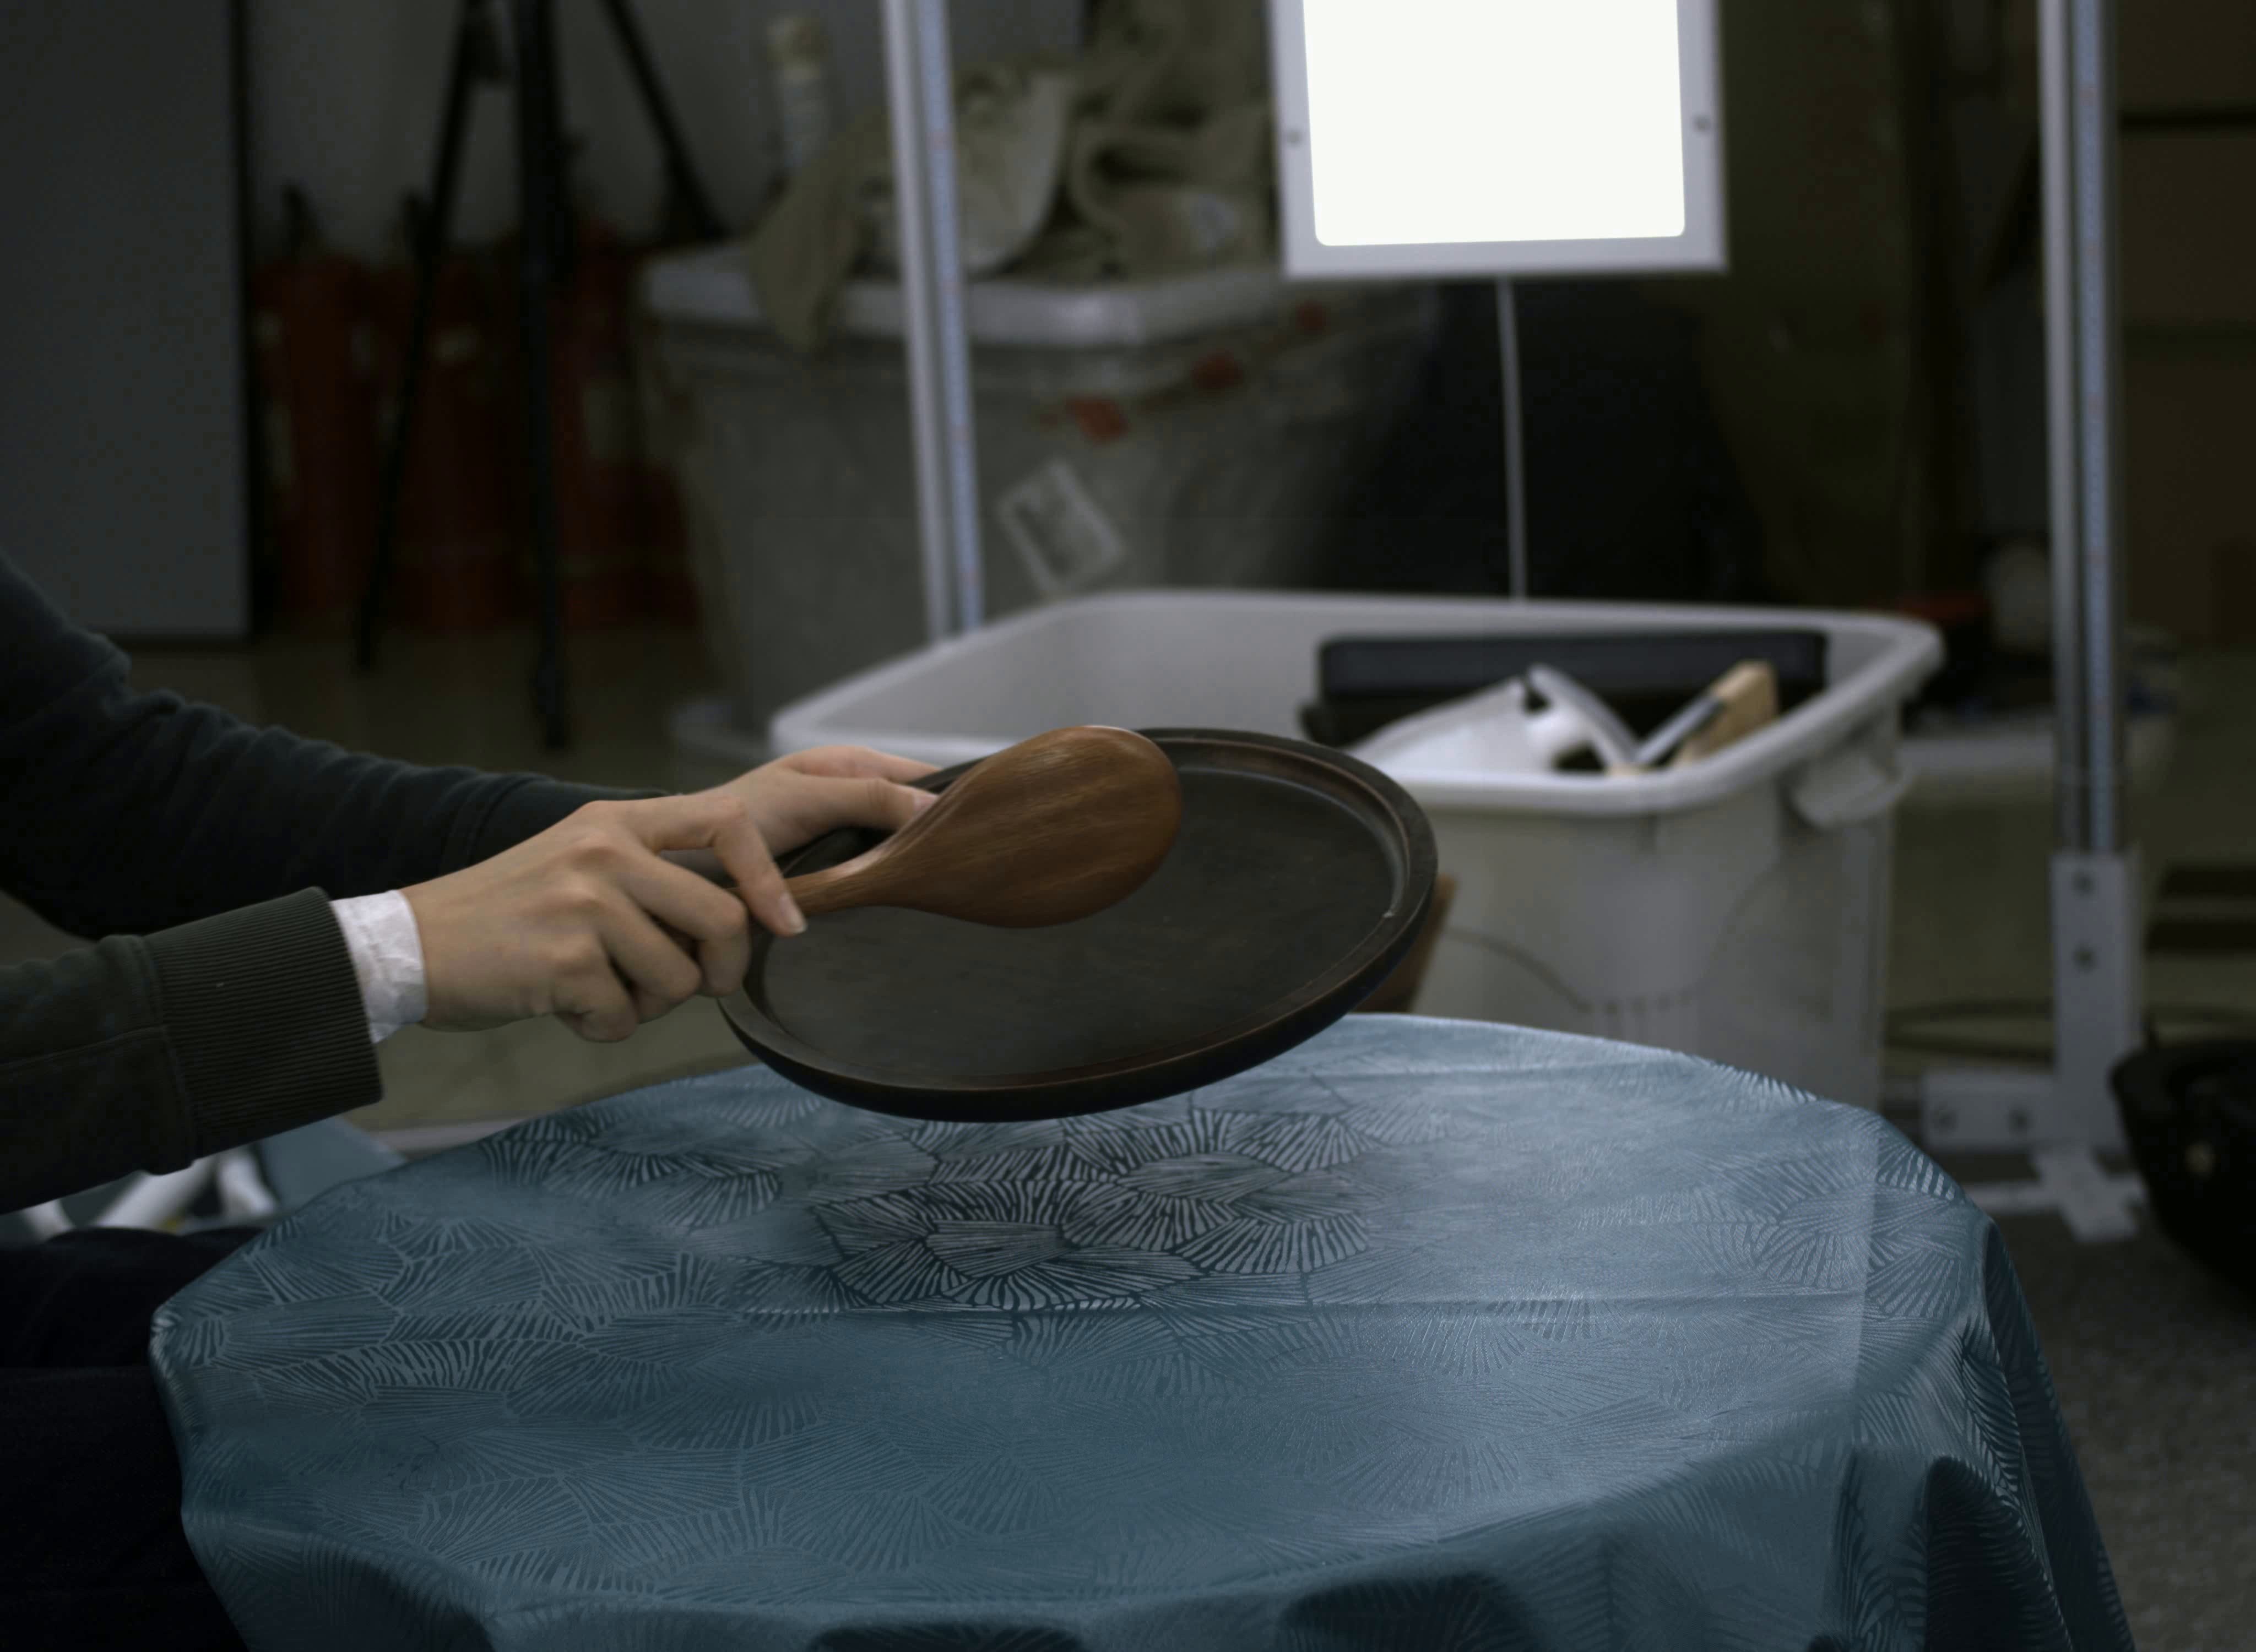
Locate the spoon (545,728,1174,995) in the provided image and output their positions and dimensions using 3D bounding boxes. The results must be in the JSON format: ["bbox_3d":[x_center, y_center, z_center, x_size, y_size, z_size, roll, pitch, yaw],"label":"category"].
[{"bbox_3d":[-0.084,0.018,1.784,0.213,0.076,0.017,-15,39,-11],"label":"spoon"}]

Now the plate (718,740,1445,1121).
[{"bbox_3d":[-0.016,0.033,1.884,0.255,0.029,0.254,-9,26,3],"label":"plate"}]
